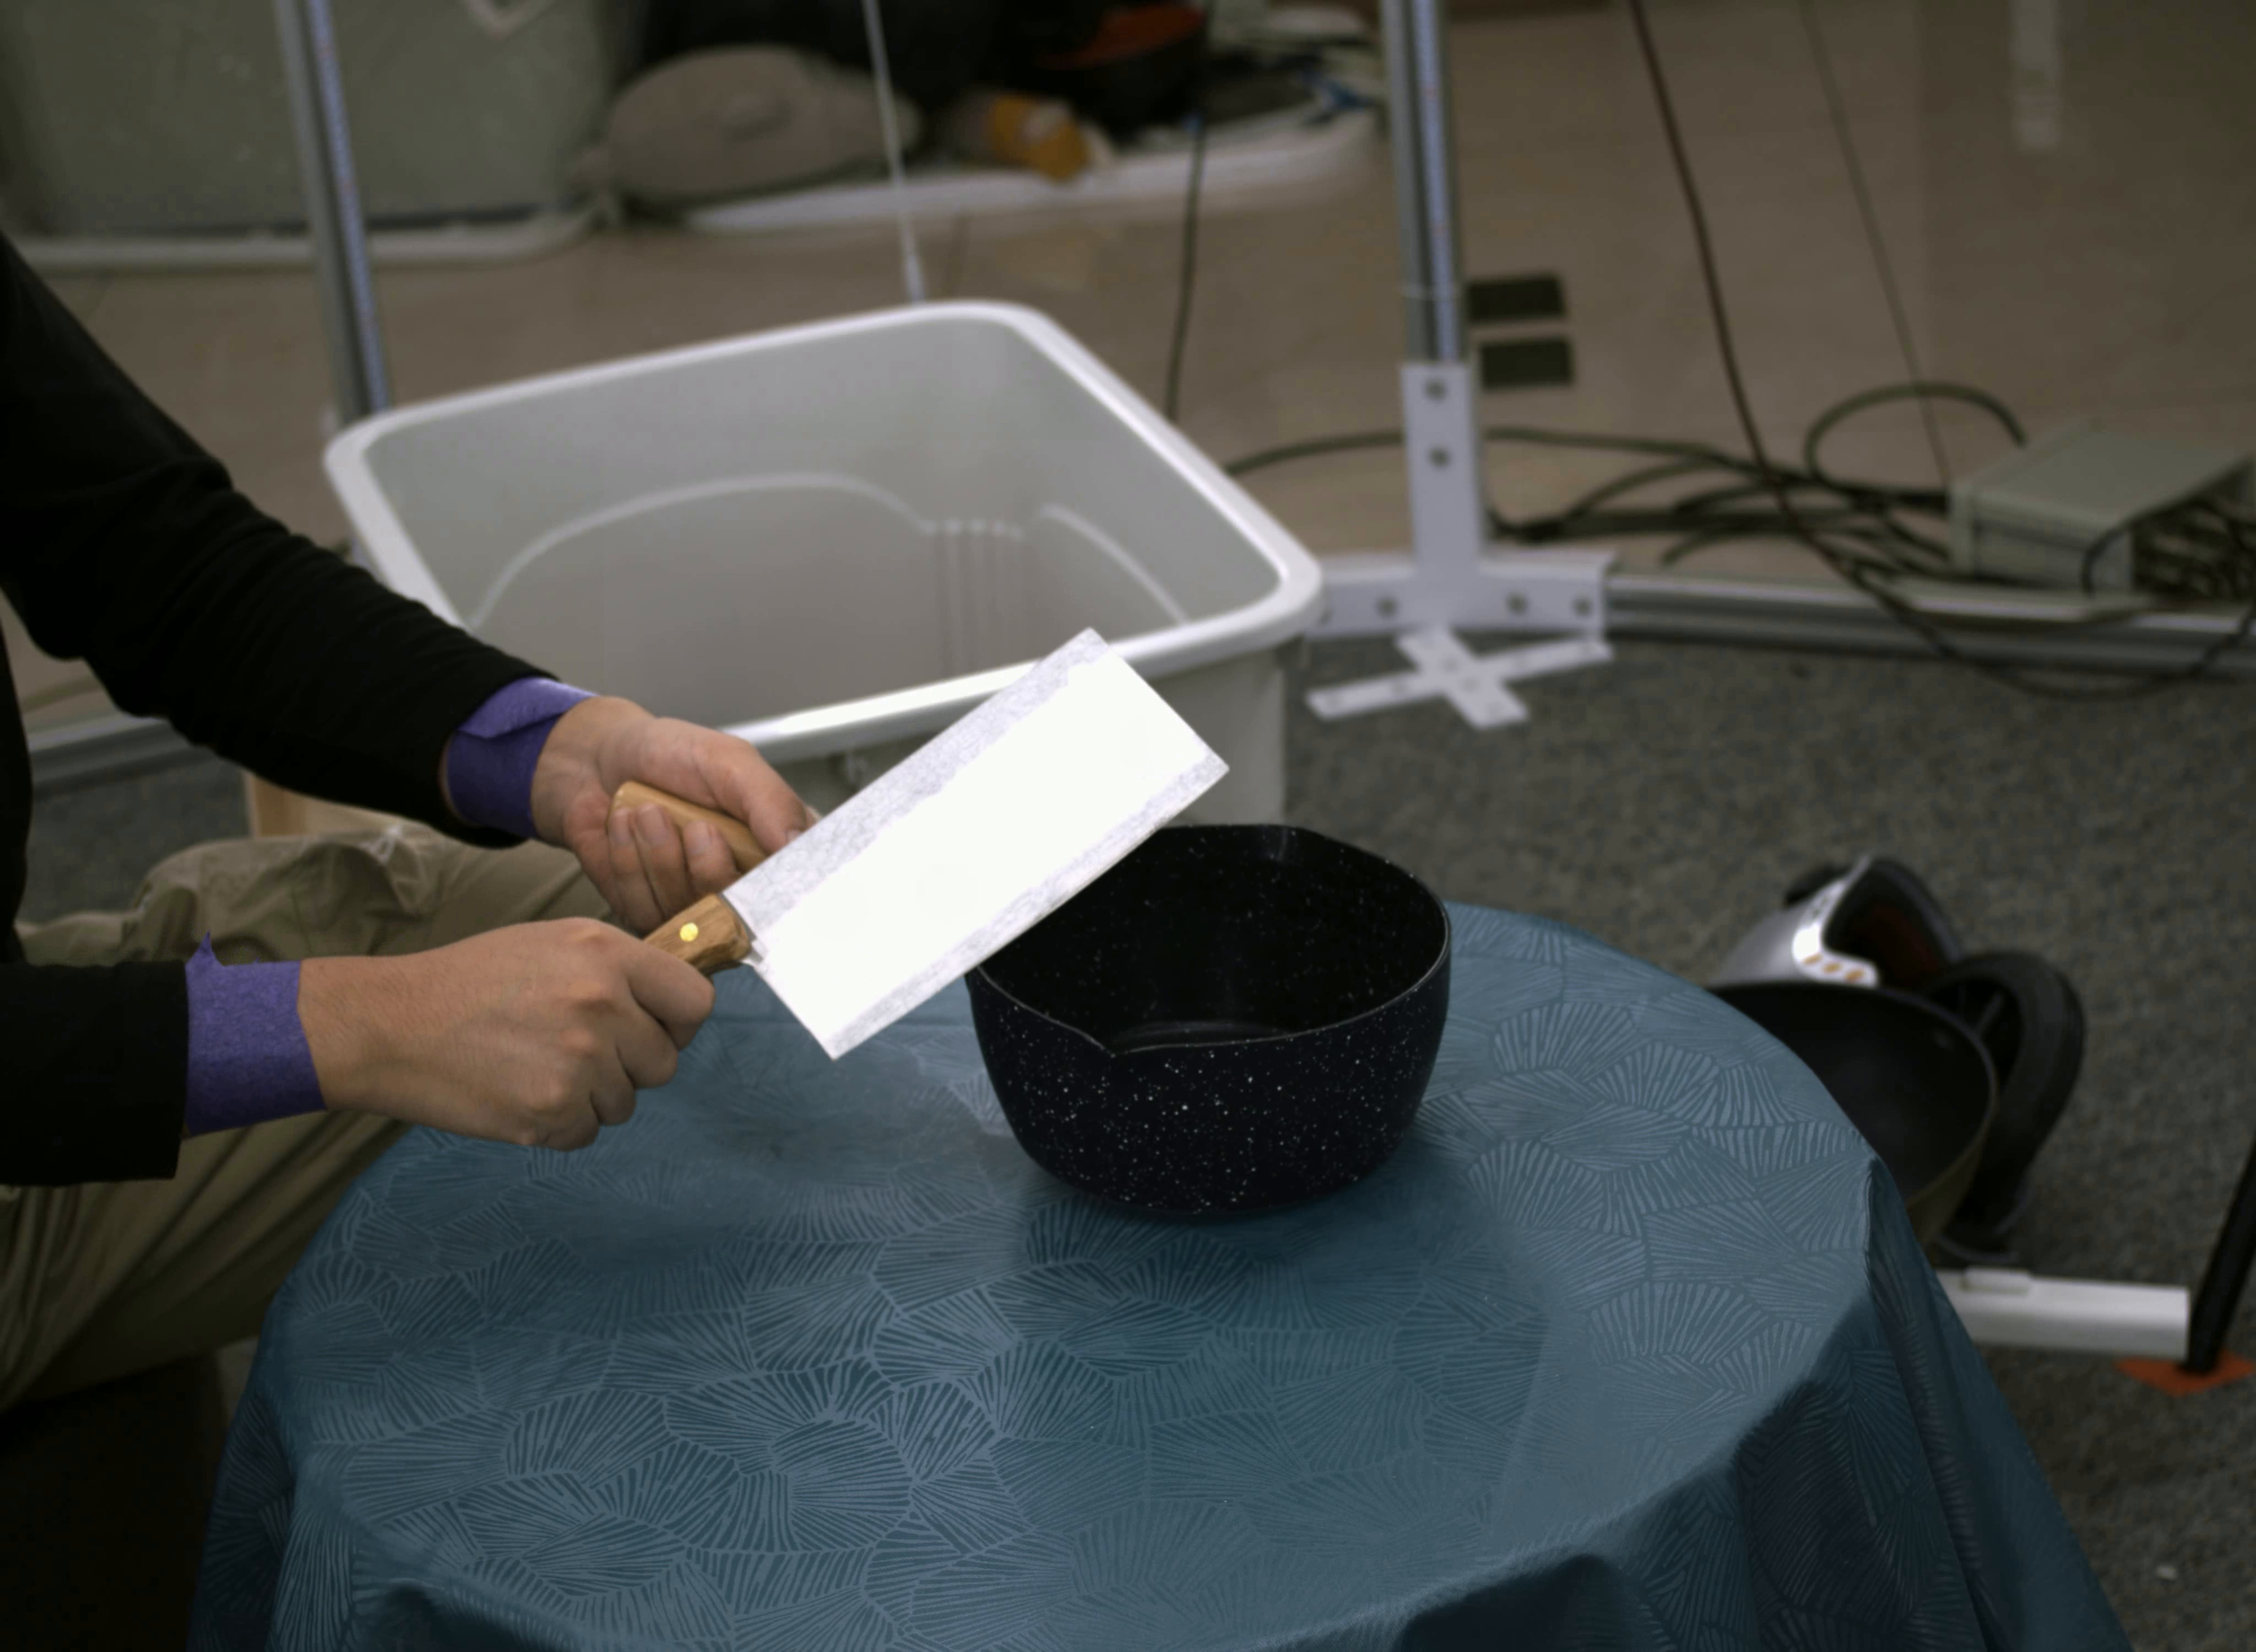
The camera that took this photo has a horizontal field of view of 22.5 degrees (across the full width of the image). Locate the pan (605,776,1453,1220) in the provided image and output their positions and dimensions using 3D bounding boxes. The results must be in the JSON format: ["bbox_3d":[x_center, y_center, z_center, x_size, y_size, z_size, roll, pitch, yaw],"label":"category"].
[{"bbox_3d":[-0.044,0.056,2.180,0.341,0.110,0.204,9,28,17],"label":"pan"}]

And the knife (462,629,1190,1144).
[{"bbox_3d":[-0.108,0.036,2.136,0.304,0.021,0.092,-36,62,-12],"label":"knife"}]
